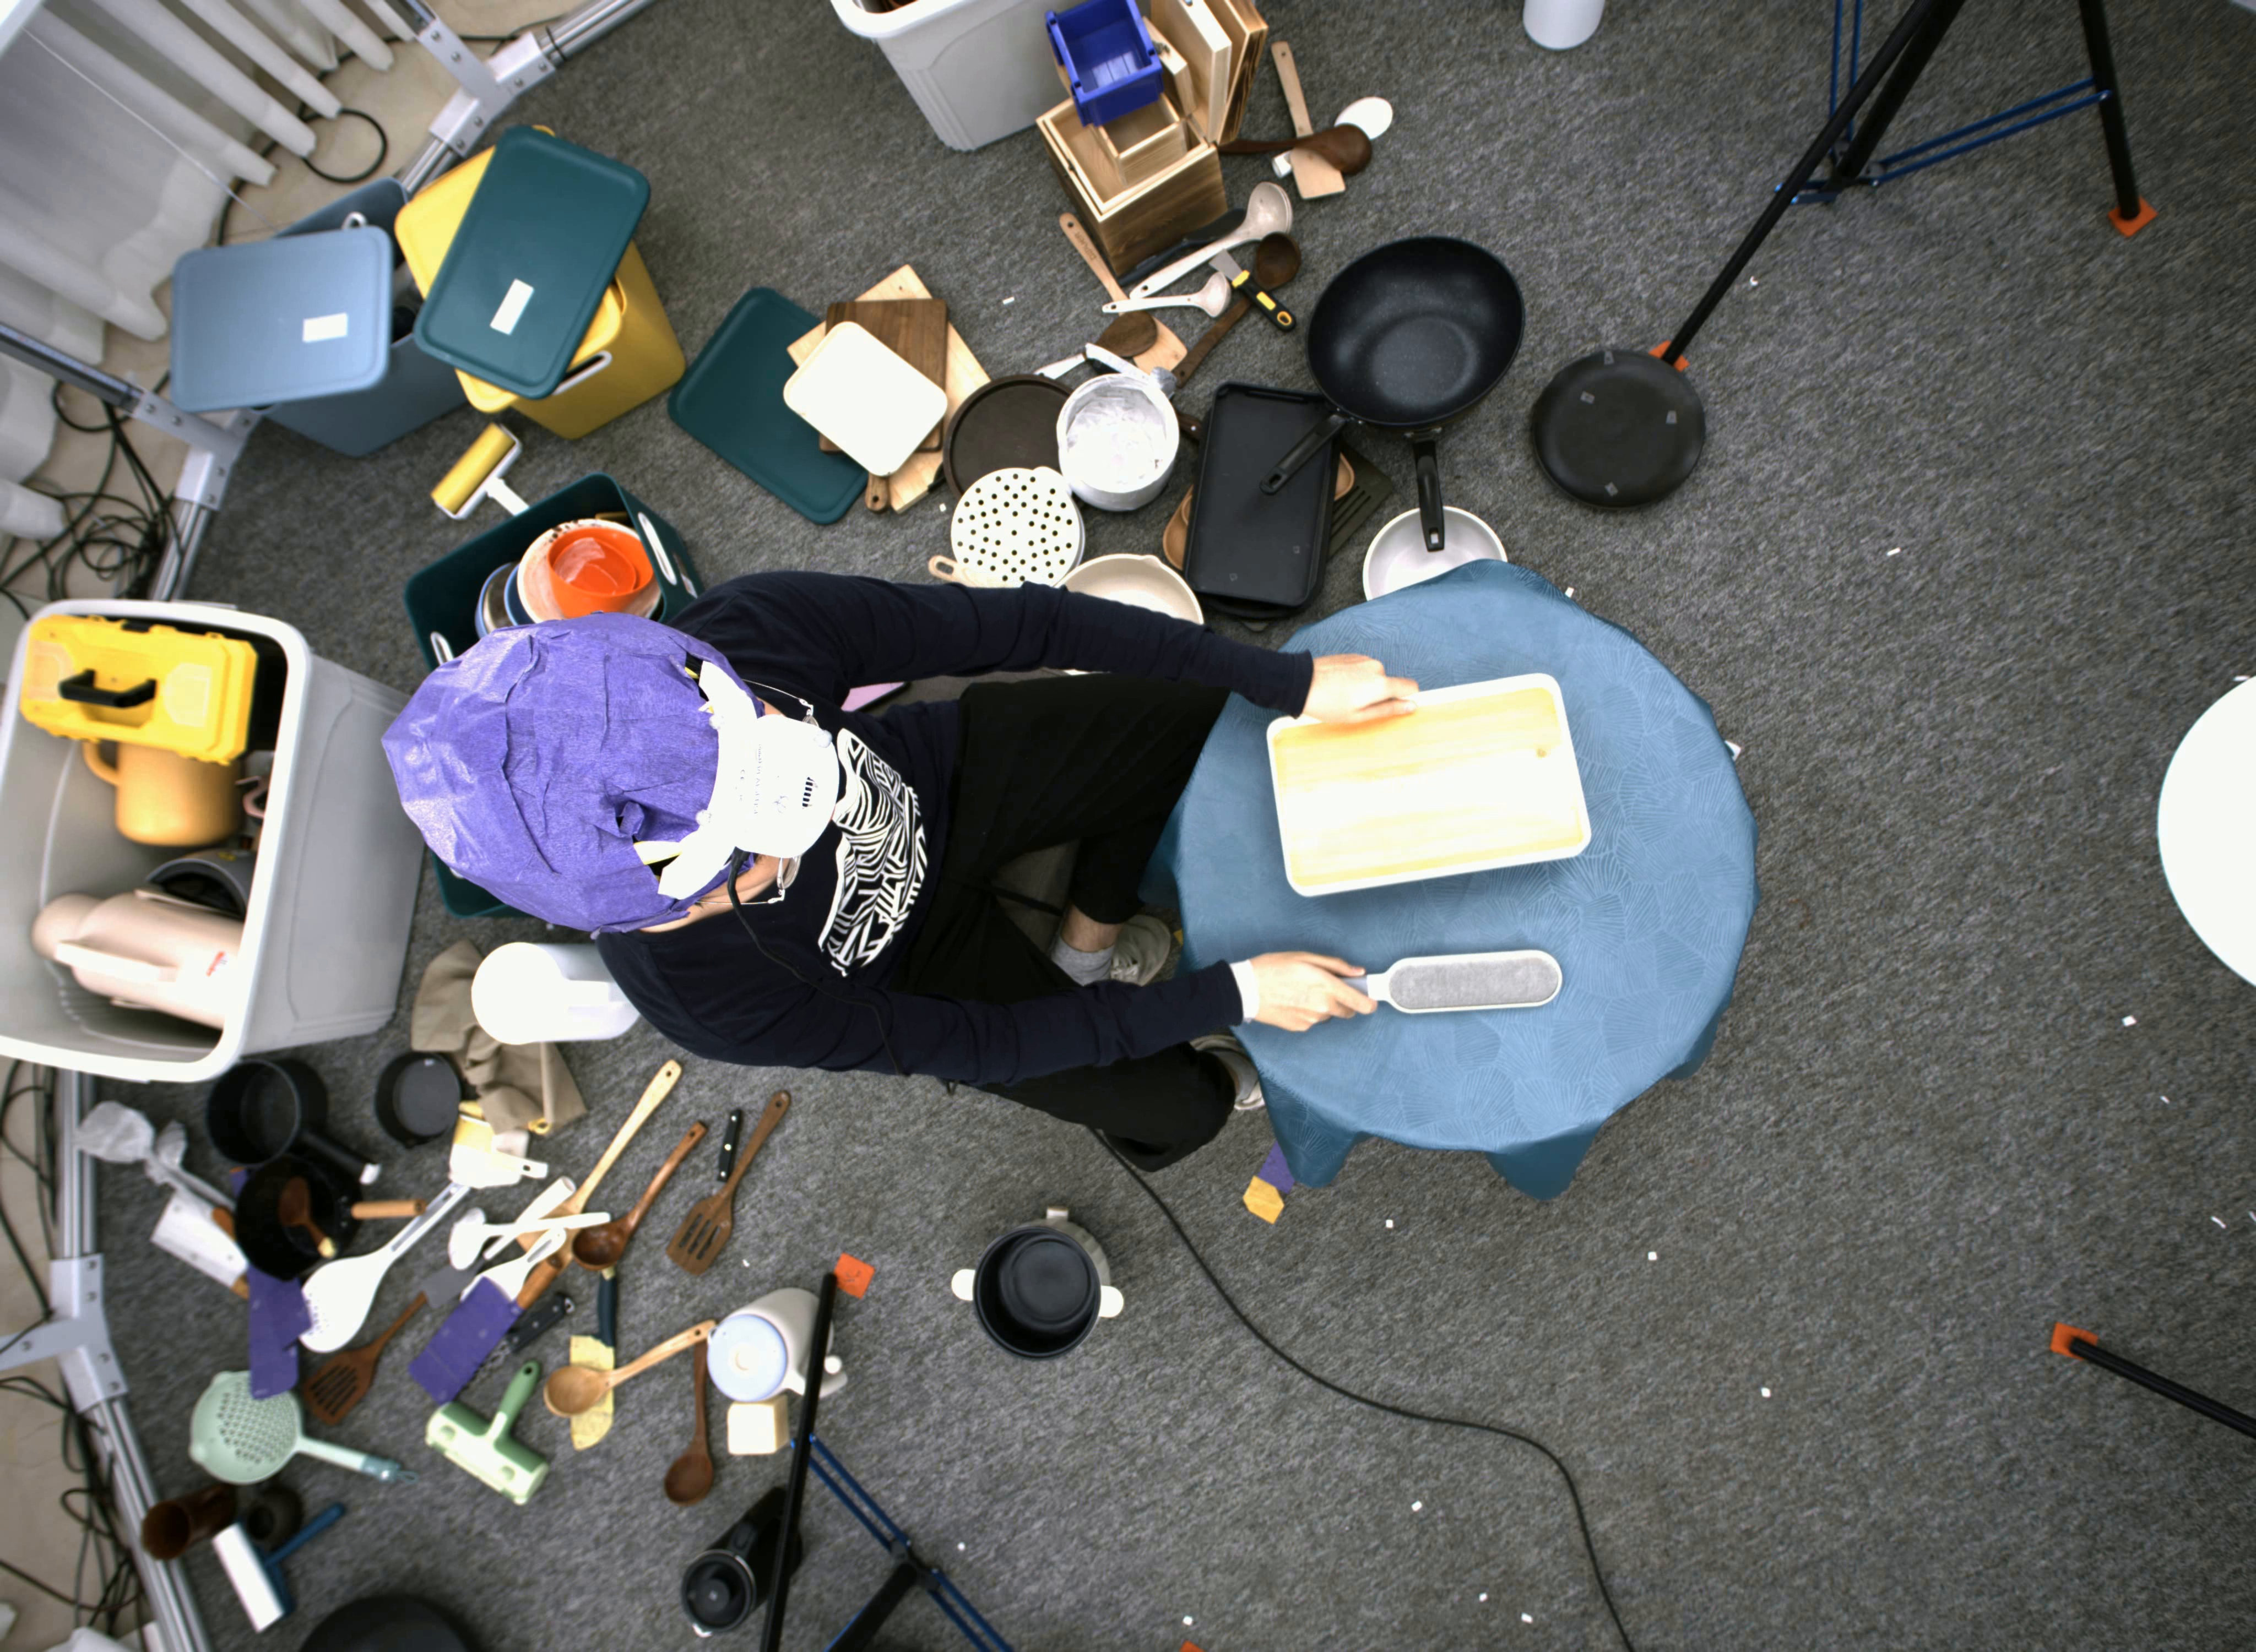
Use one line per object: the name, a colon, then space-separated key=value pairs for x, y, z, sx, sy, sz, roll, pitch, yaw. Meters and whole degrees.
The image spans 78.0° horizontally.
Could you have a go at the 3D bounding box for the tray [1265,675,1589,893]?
tray: x=0.296 y=-0.044 z=1.386 sx=0.302 sy=0.028 sz=0.188 roll=-9 pitch=72 yaw=10

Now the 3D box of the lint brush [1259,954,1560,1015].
lint brush: x=0.290 y=0.164 z=1.424 sx=0.310 sy=0.020 sz=0.061 roll=-4 pitch=105 yaw=6
